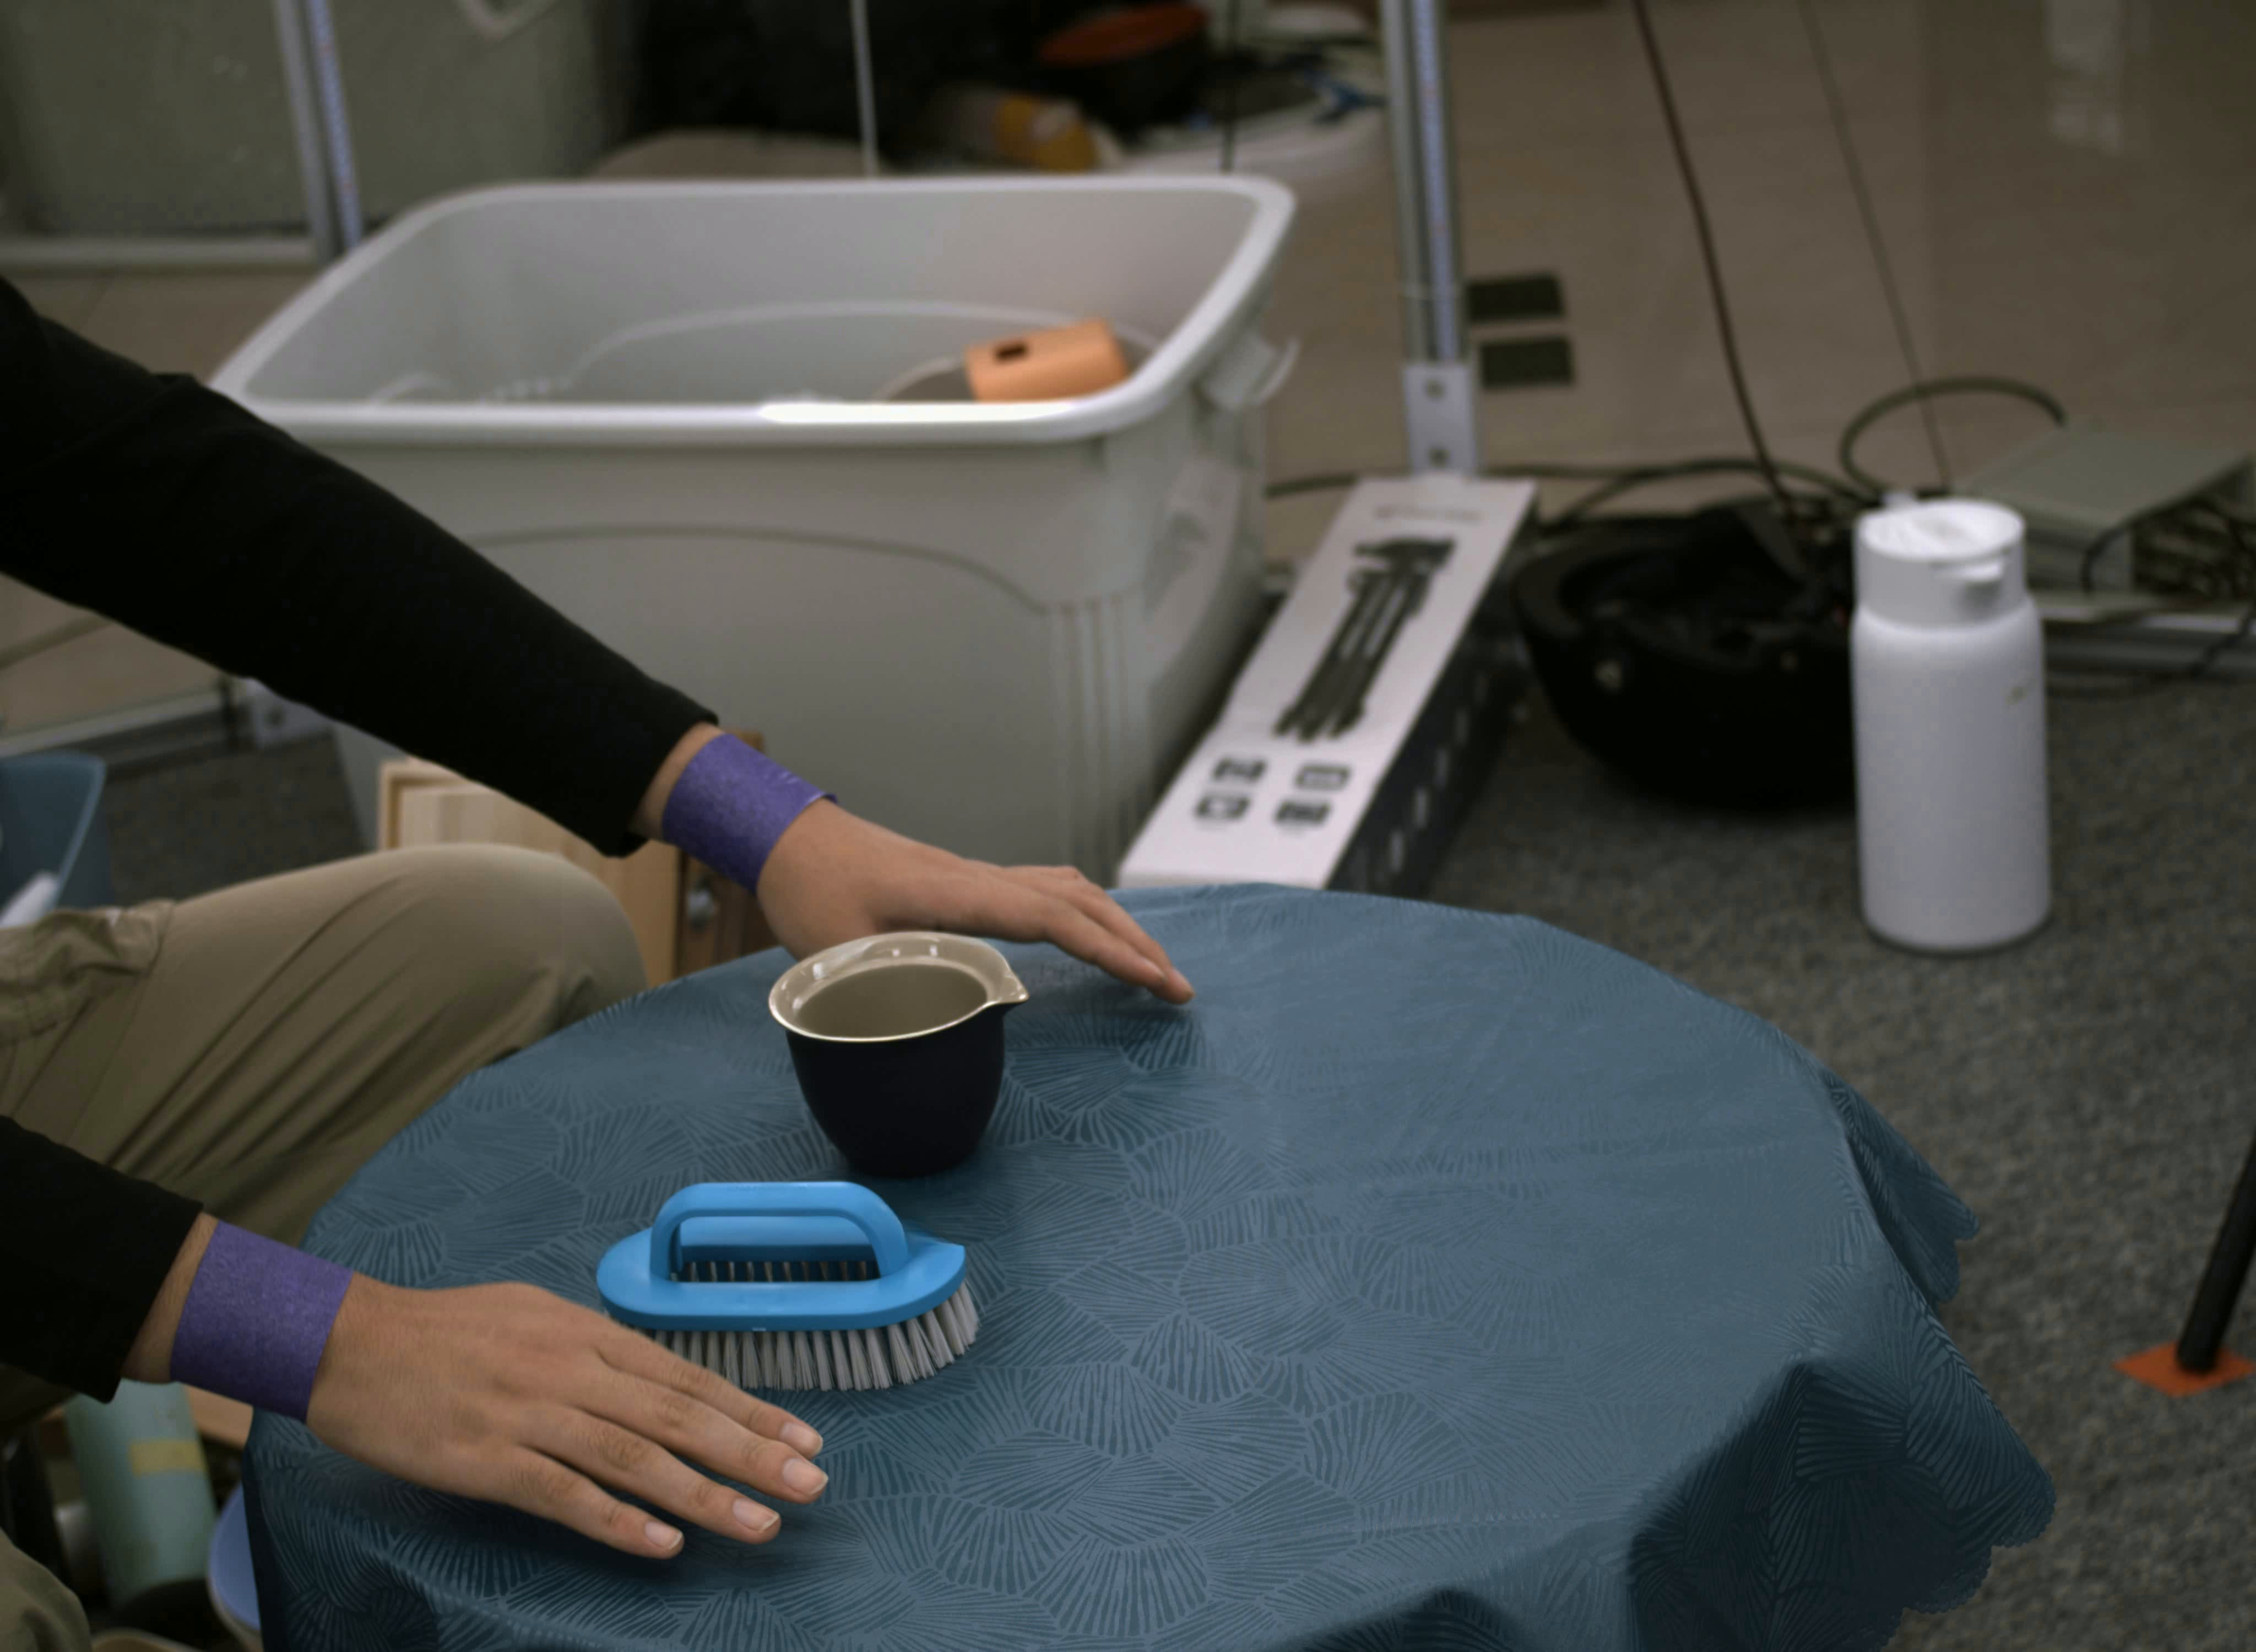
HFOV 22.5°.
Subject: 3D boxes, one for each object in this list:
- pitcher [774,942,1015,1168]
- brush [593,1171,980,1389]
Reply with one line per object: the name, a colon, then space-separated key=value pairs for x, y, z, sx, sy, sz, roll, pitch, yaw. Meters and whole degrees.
pitcher: x=-0.086 y=0.090 z=2.183 sx=0.095 sy=0.072 sz=0.082 roll=6 pitch=27 yaw=21
brush: x=-0.128 y=0.156 z=2.061 sx=0.141 sy=0.065 sz=0.083 roll=-1 pitch=30 yaw=13
